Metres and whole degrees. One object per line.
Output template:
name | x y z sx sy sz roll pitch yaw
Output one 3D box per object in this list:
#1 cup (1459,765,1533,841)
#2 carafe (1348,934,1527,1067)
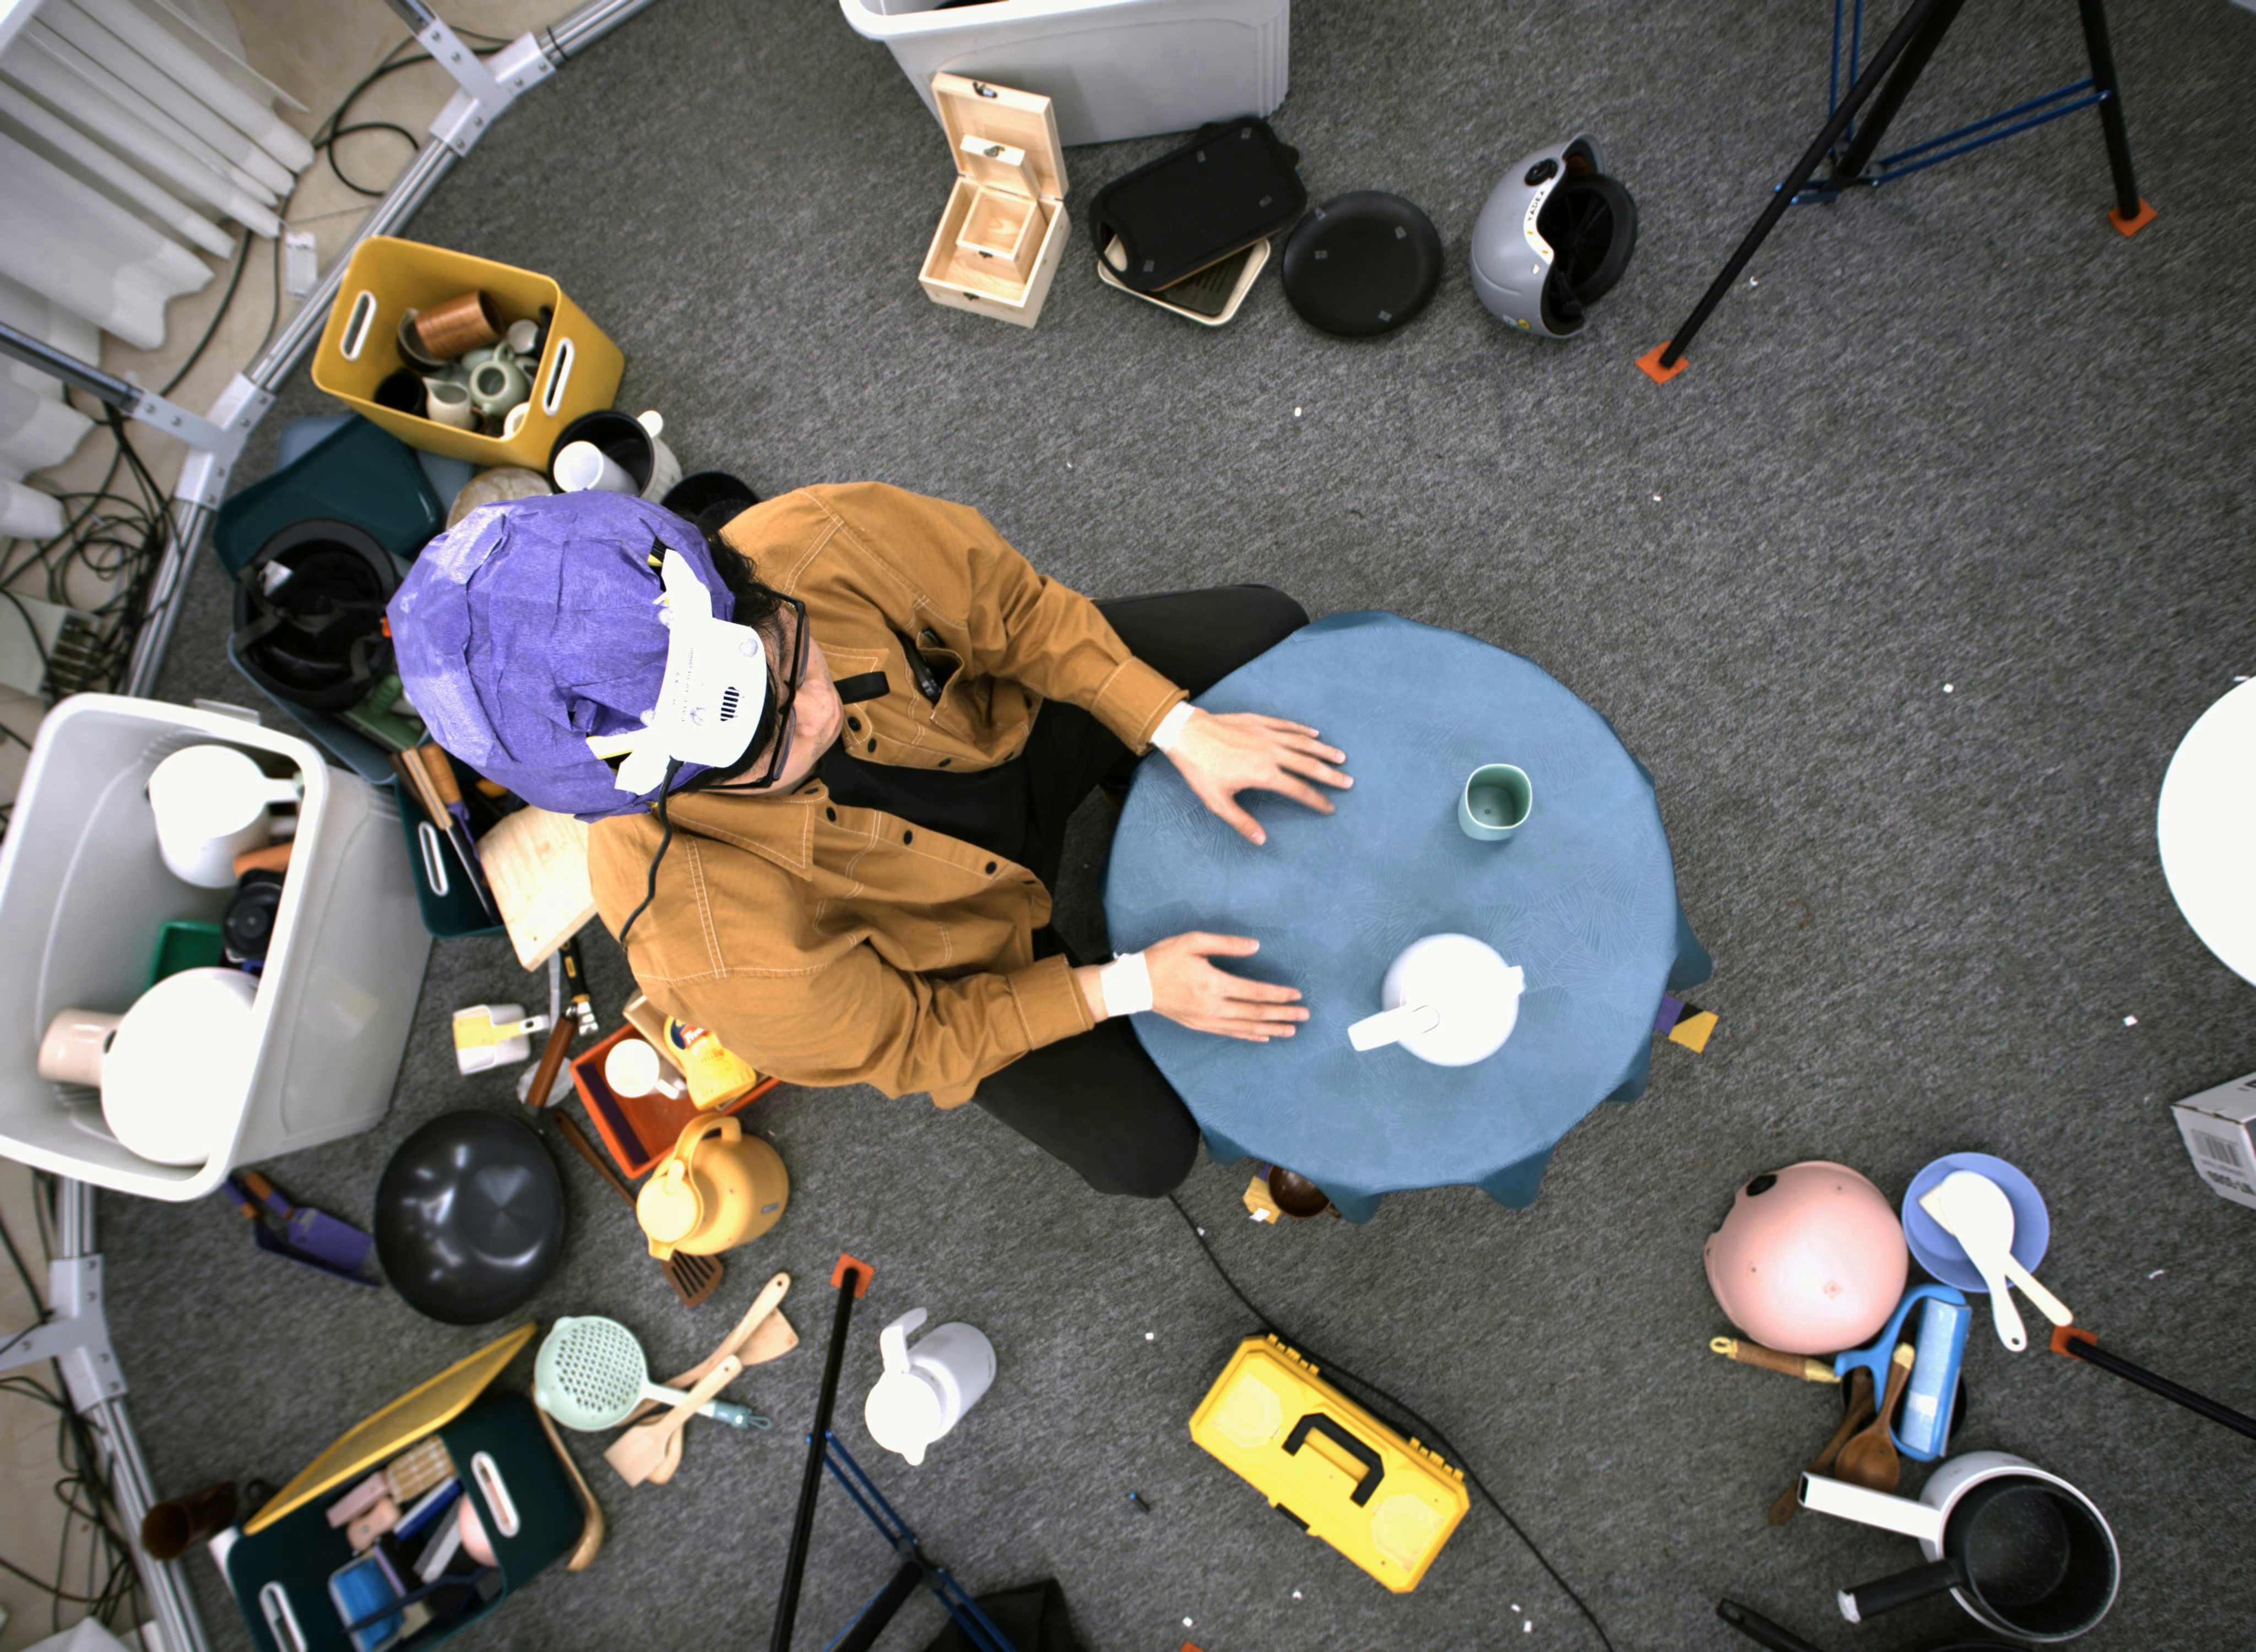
cup | 0.367 -0.024 1.384 0.067 0.132 0.066 -1 85 10
carafe | 0.293 0.175 1.326 0.169 0.249 0.131 -23 82 8
